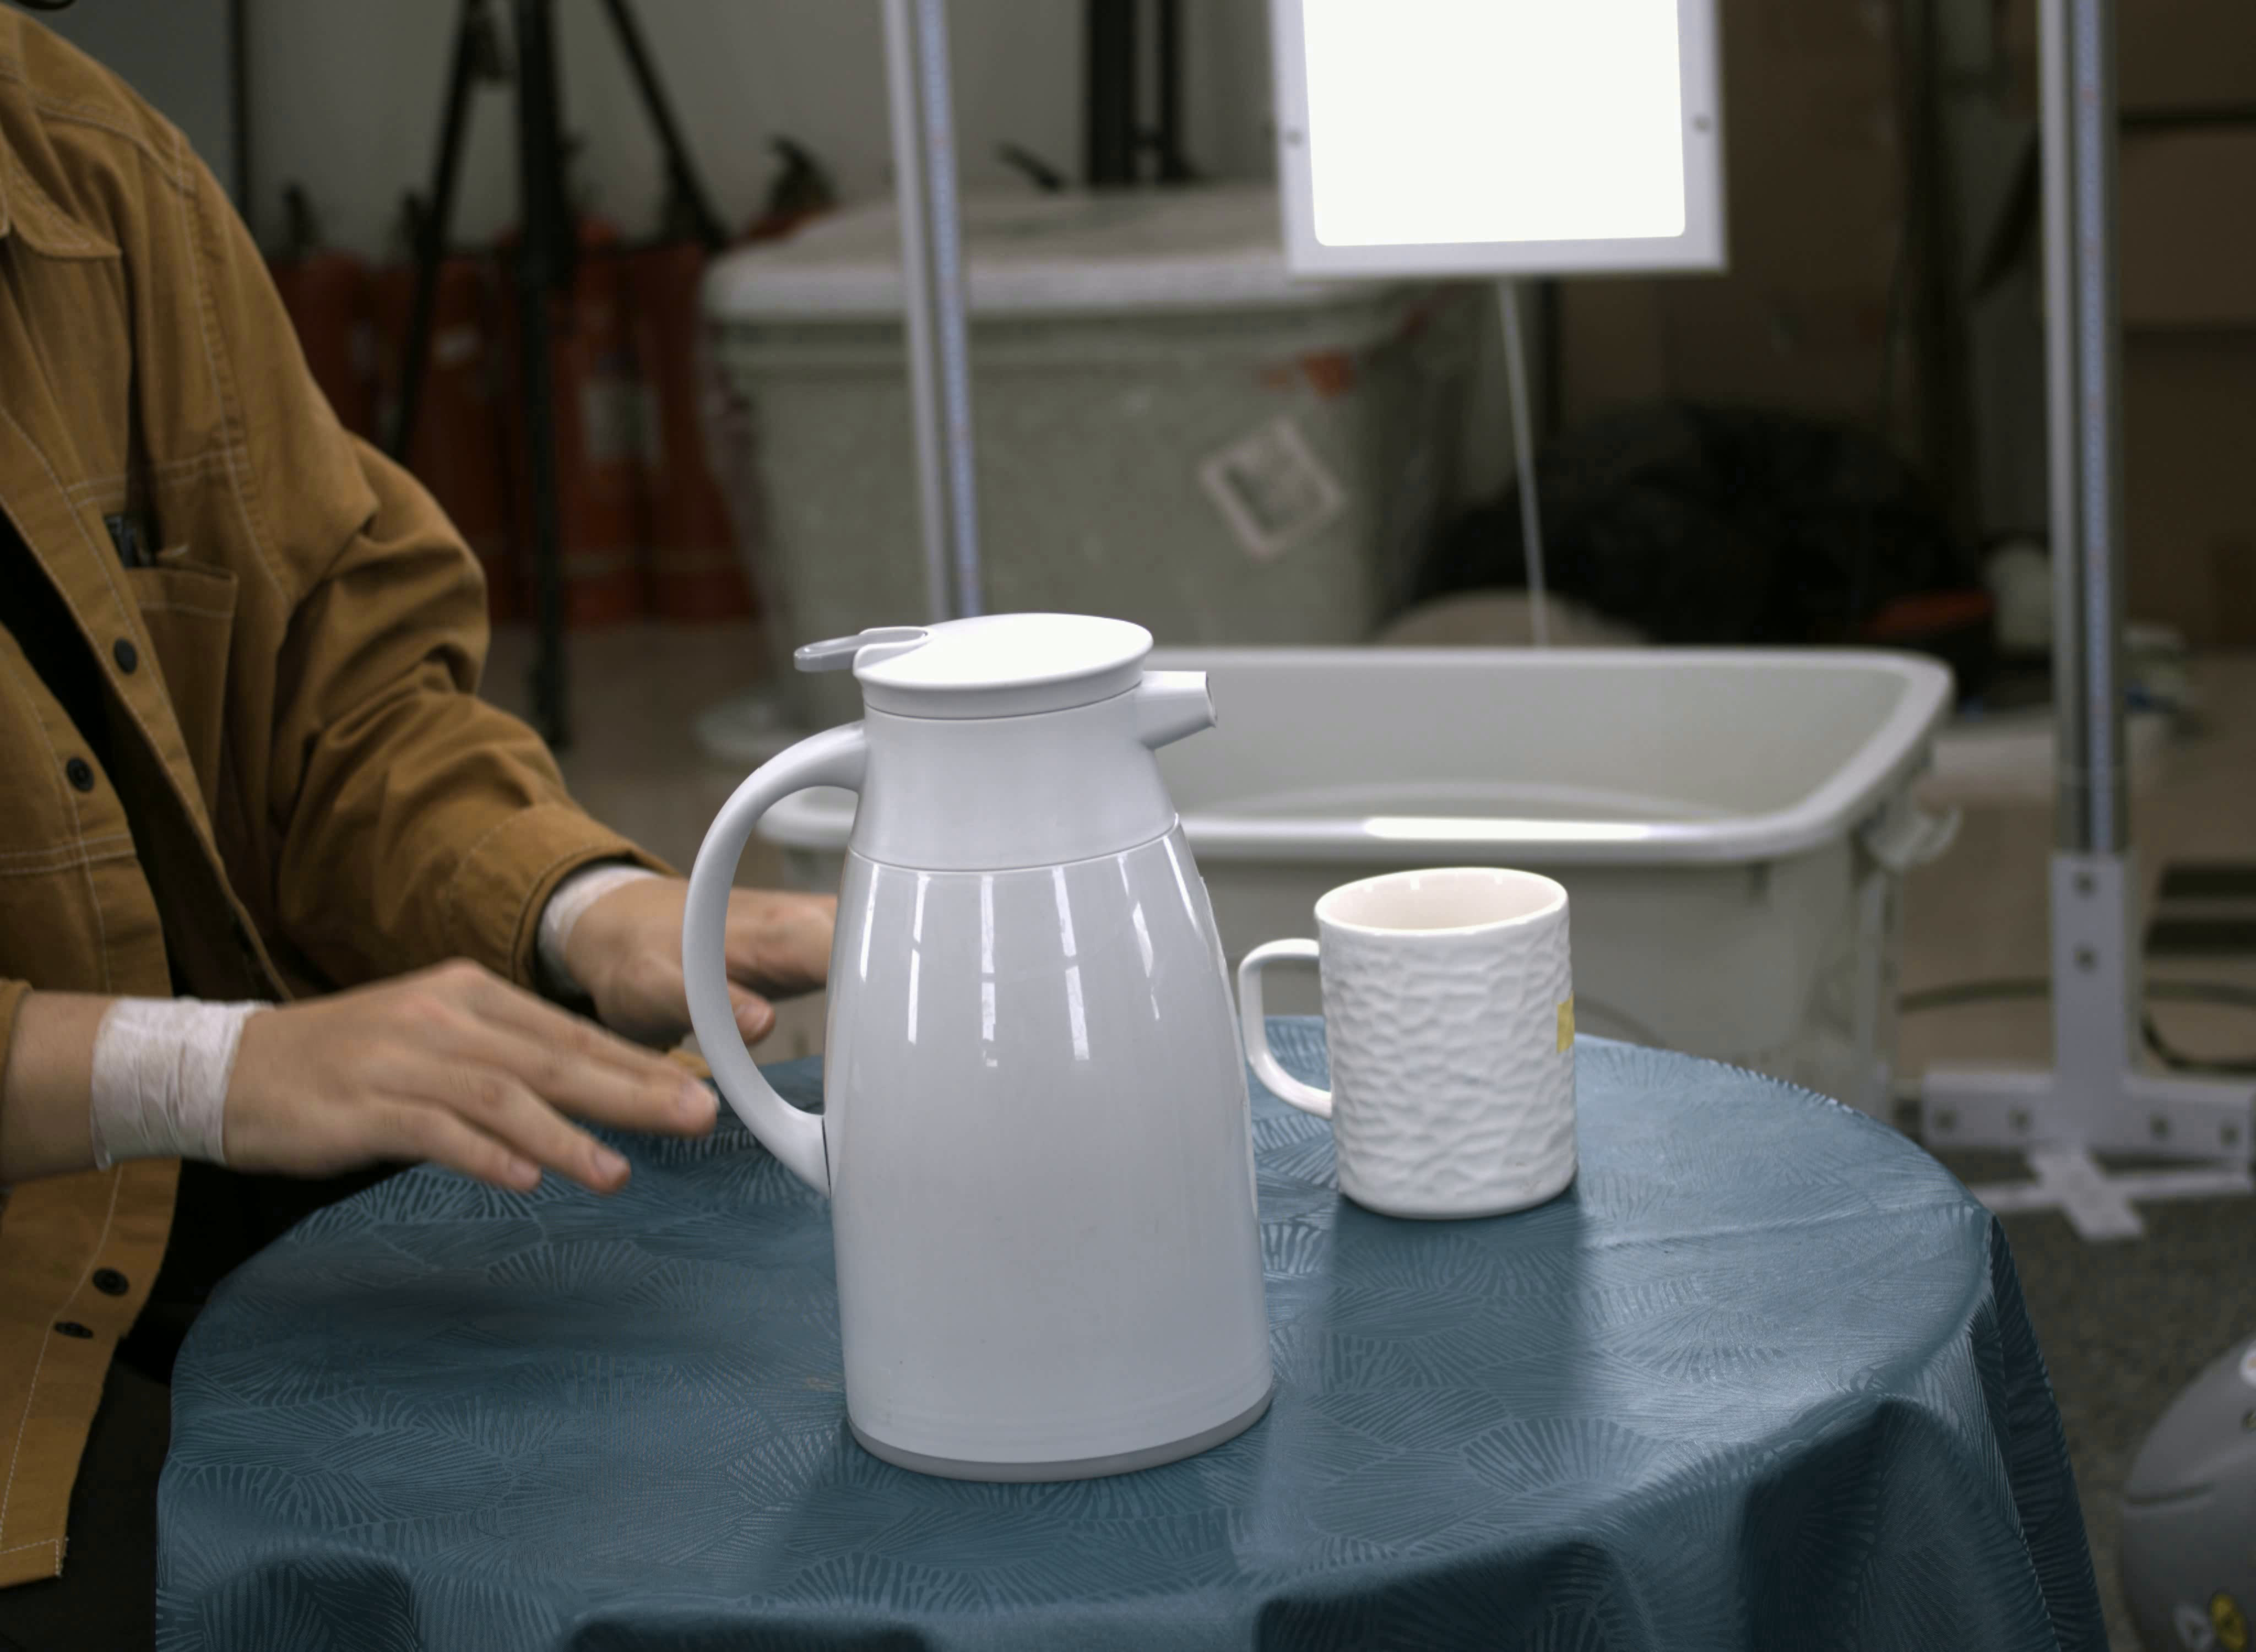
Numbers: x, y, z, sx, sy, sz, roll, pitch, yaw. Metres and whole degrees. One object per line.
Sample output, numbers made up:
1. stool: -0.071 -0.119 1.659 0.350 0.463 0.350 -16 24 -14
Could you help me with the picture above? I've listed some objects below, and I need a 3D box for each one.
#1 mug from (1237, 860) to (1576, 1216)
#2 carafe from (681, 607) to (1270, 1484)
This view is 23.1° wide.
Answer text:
1. mug: 0.094 0.071 1.867 0.120 0.102 0.083 3 16 22
2. carafe: -0.049 0.061 1.663 0.167 0.249 0.132 -4 14 3
